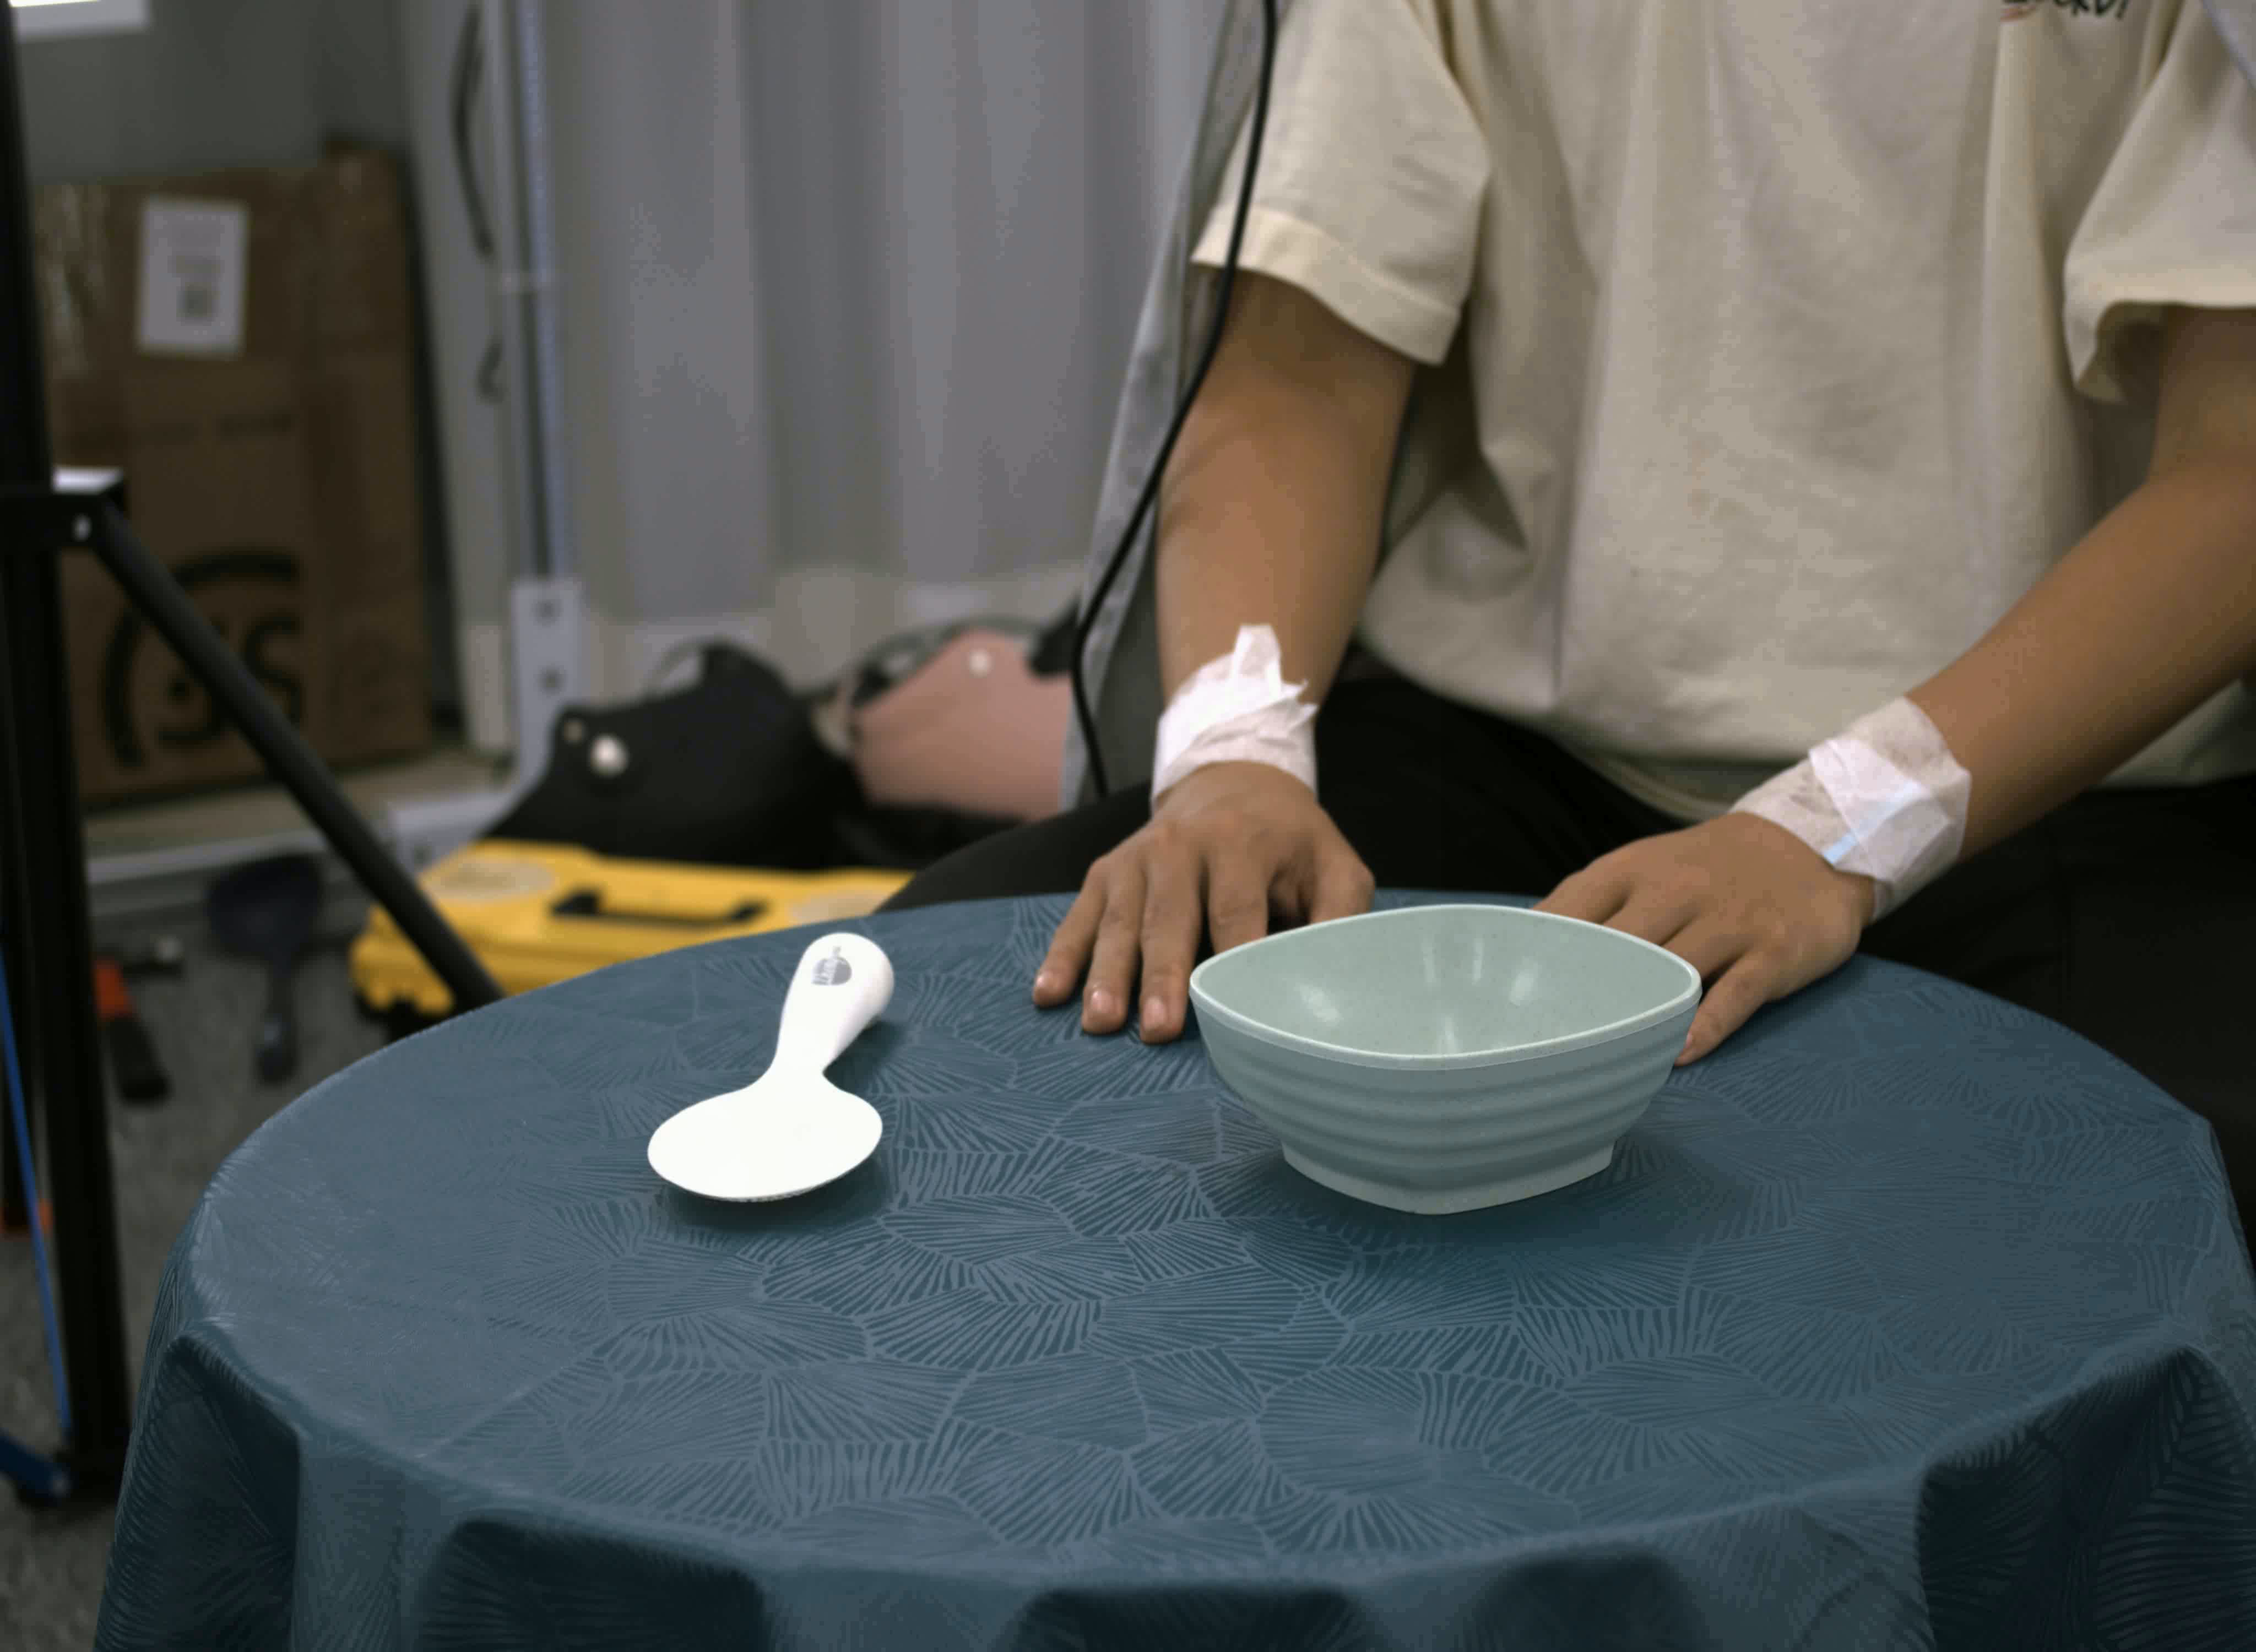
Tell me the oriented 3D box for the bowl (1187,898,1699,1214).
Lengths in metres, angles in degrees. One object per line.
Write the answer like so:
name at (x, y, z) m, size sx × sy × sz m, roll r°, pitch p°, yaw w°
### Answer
bowl at (0.095, 0.071, 1.561) m, size 0.151 × 0.058 × 0.152 m, roll -6°, pitch 15°, yaw 0°

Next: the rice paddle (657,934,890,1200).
rice paddle at (-0.100, 0.076, 1.630) m, size 0.069 × 0.029 × 0.205 m, roll -3°, pitch 15°, yaw 6°
